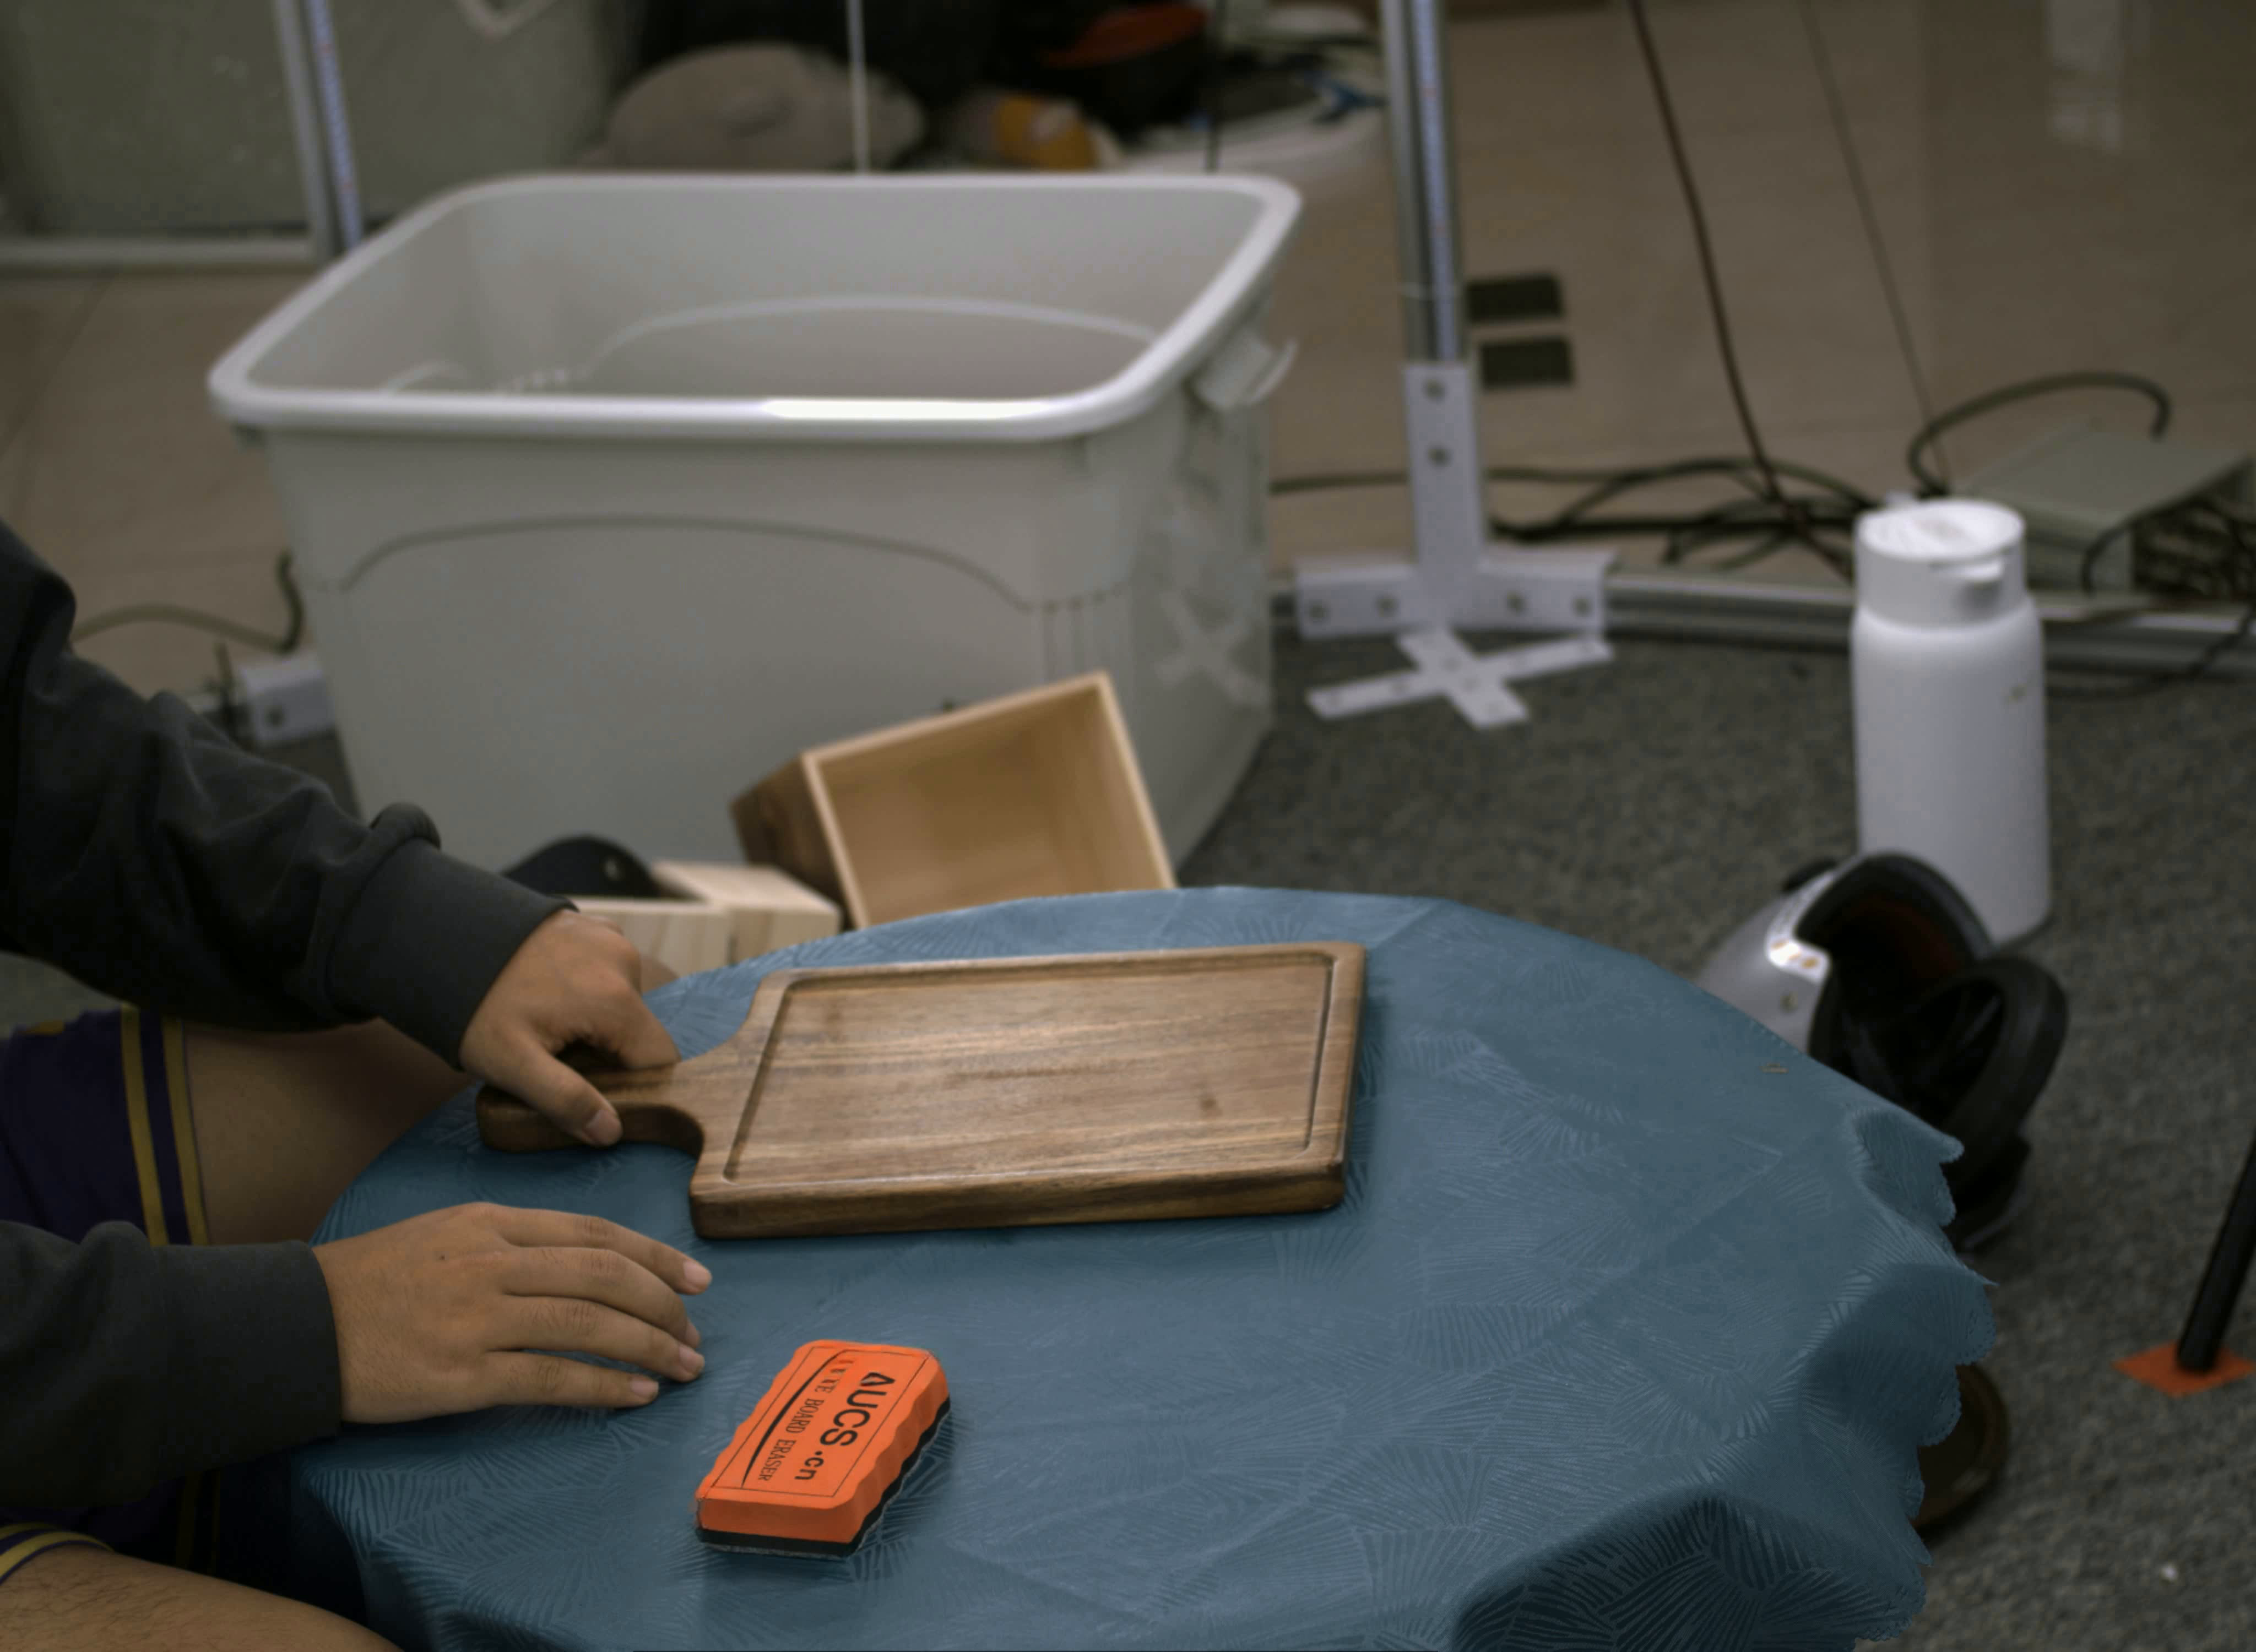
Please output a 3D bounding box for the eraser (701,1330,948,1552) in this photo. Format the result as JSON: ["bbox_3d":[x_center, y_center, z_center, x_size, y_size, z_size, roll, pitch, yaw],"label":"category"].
[{"bbox_3d":[-0.105,0.213,1.977,0.059,0.023,0.106,2,28,19],"label":"eraser"}]

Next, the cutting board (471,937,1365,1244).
[{"bbox_3d":[-0.084,0.104,2.218,0.351,0.023,0.198,-4,25,7],"label":"cutting board"}]
